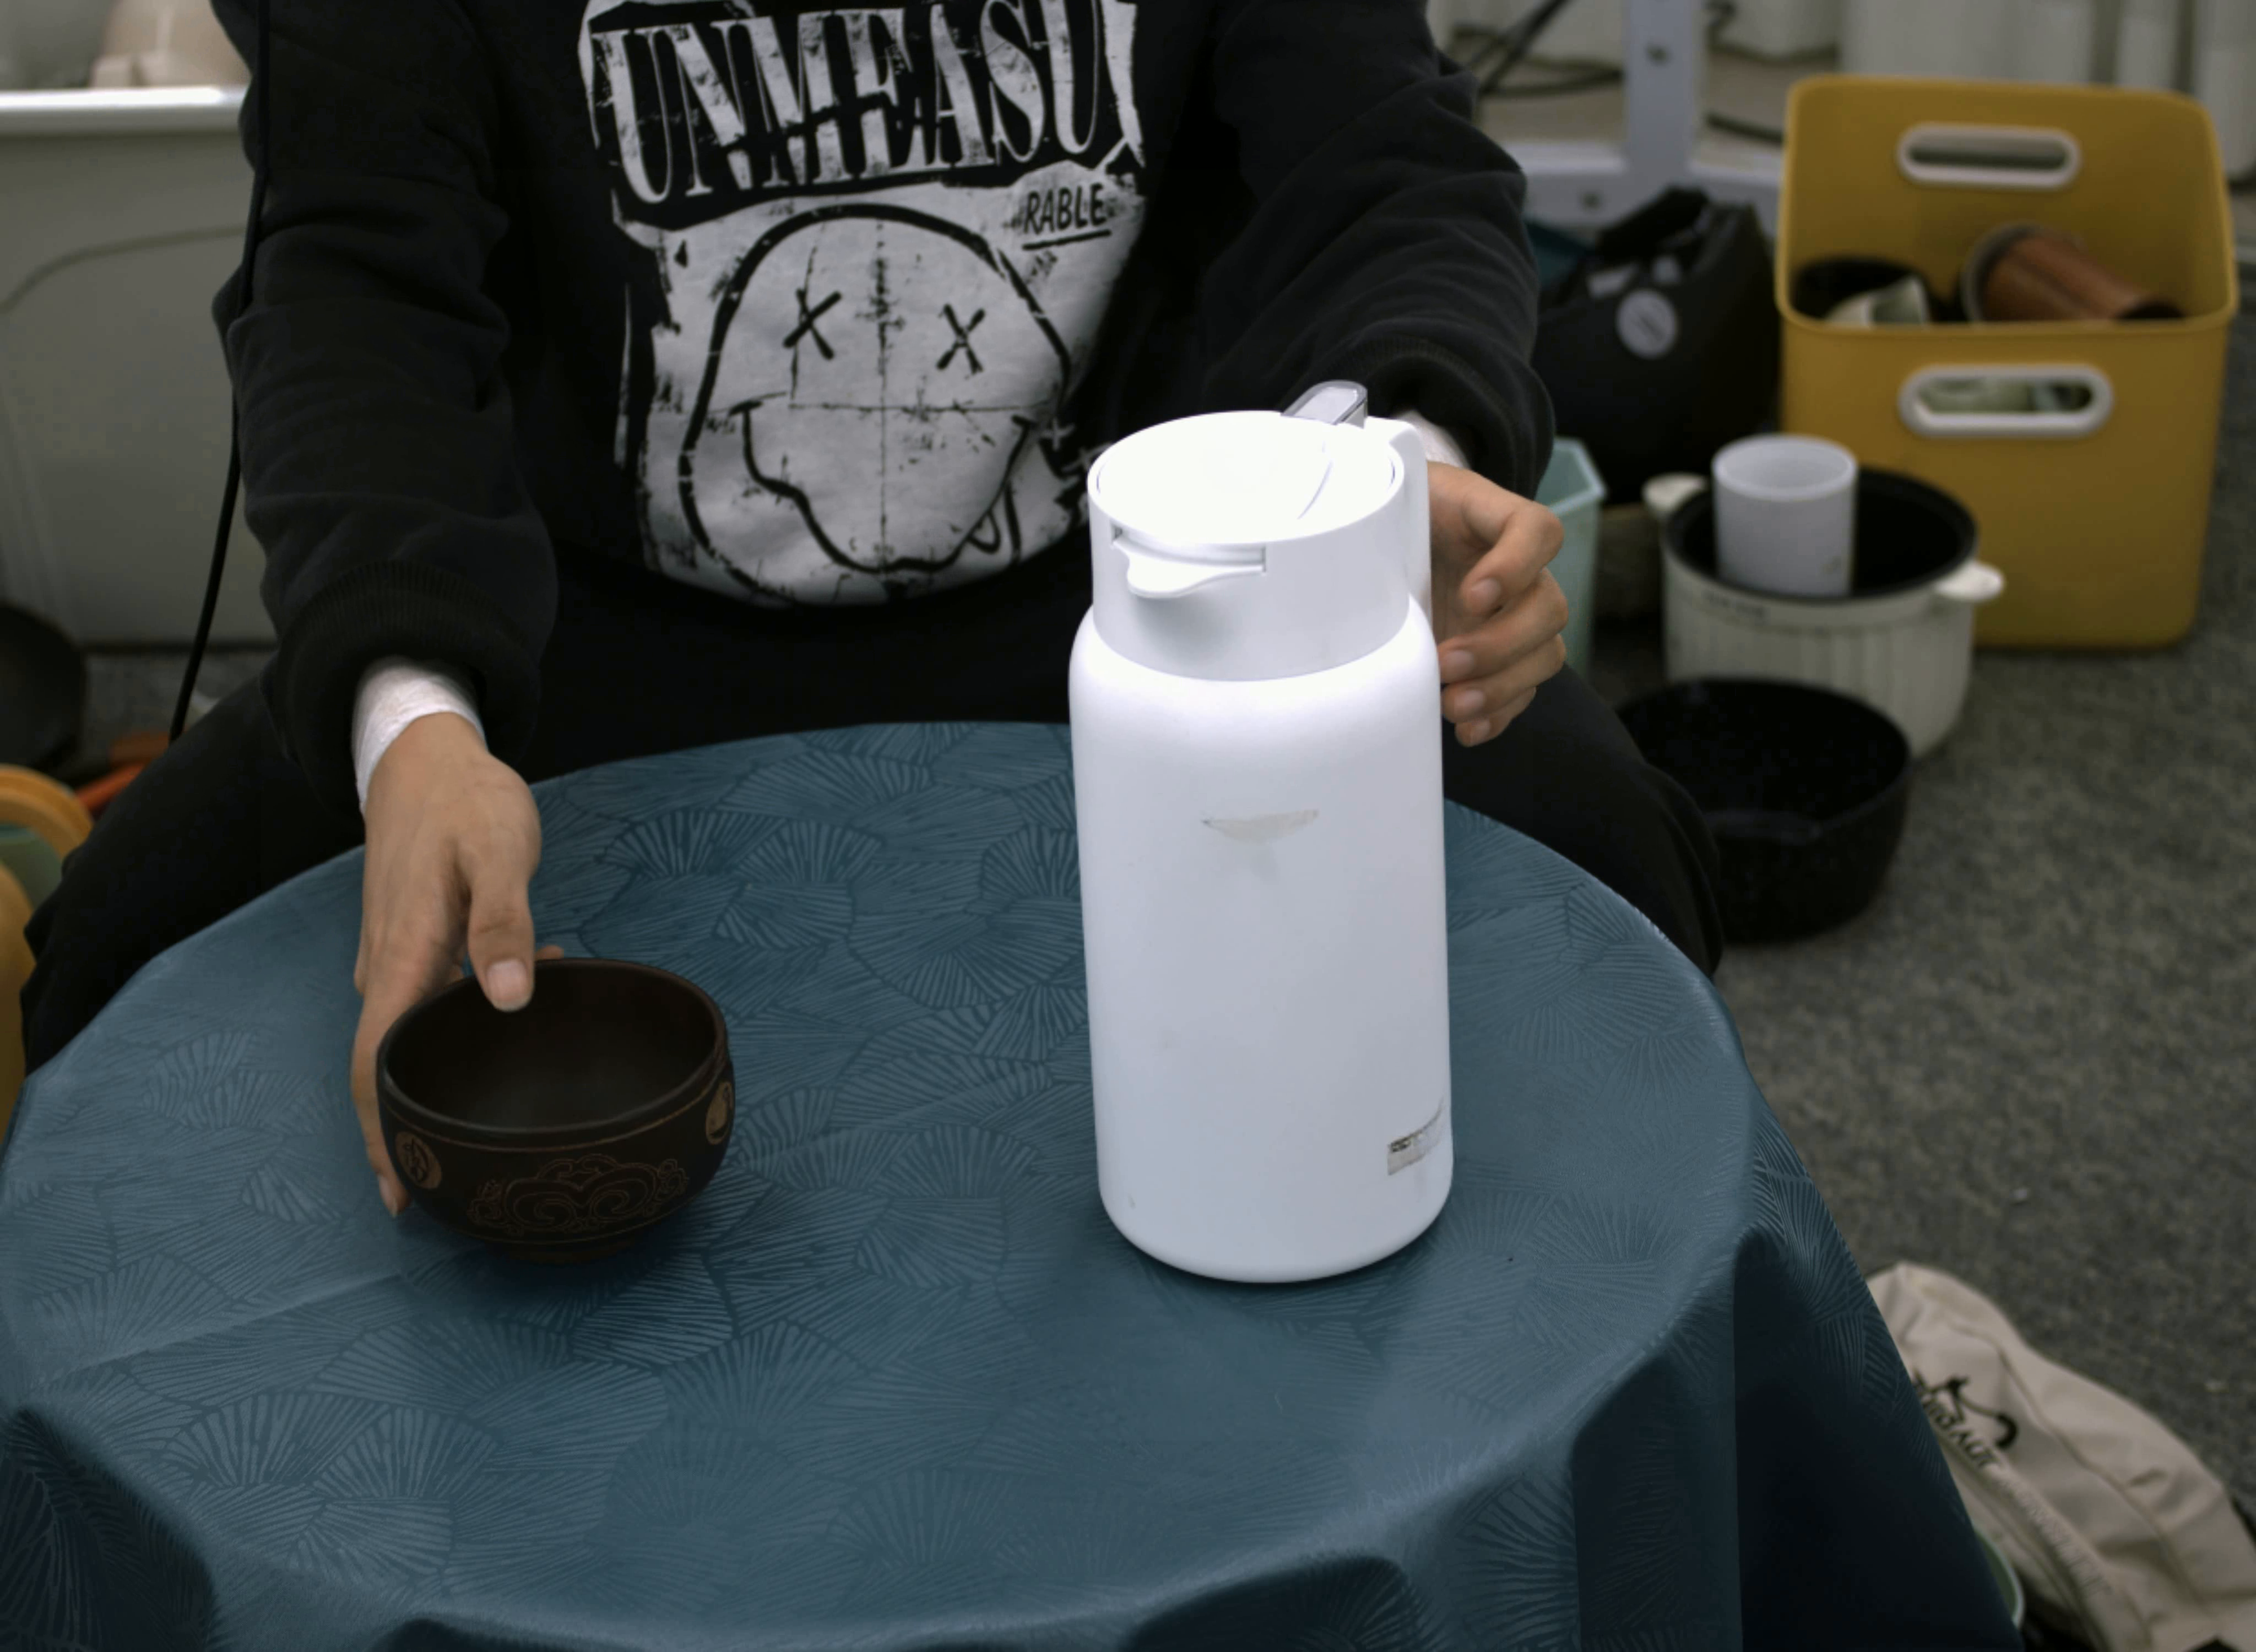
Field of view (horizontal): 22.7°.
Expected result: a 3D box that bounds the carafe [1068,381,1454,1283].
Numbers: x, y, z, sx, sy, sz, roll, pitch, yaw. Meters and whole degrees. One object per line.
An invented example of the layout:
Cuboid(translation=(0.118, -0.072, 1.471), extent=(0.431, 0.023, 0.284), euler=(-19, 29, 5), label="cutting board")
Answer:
Cuboid(translation=(0.049, -0.002, 1.806), extent=(0.123, 0.266, 0.176), euler=(7, 28, 25), label="carafe")

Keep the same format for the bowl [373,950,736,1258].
Cuboid(translation=(-0.186, 0.098, 1.842), extent=(0.117, 0.069, 0.120), euler=(-2, 26, 1), label="bowl")
